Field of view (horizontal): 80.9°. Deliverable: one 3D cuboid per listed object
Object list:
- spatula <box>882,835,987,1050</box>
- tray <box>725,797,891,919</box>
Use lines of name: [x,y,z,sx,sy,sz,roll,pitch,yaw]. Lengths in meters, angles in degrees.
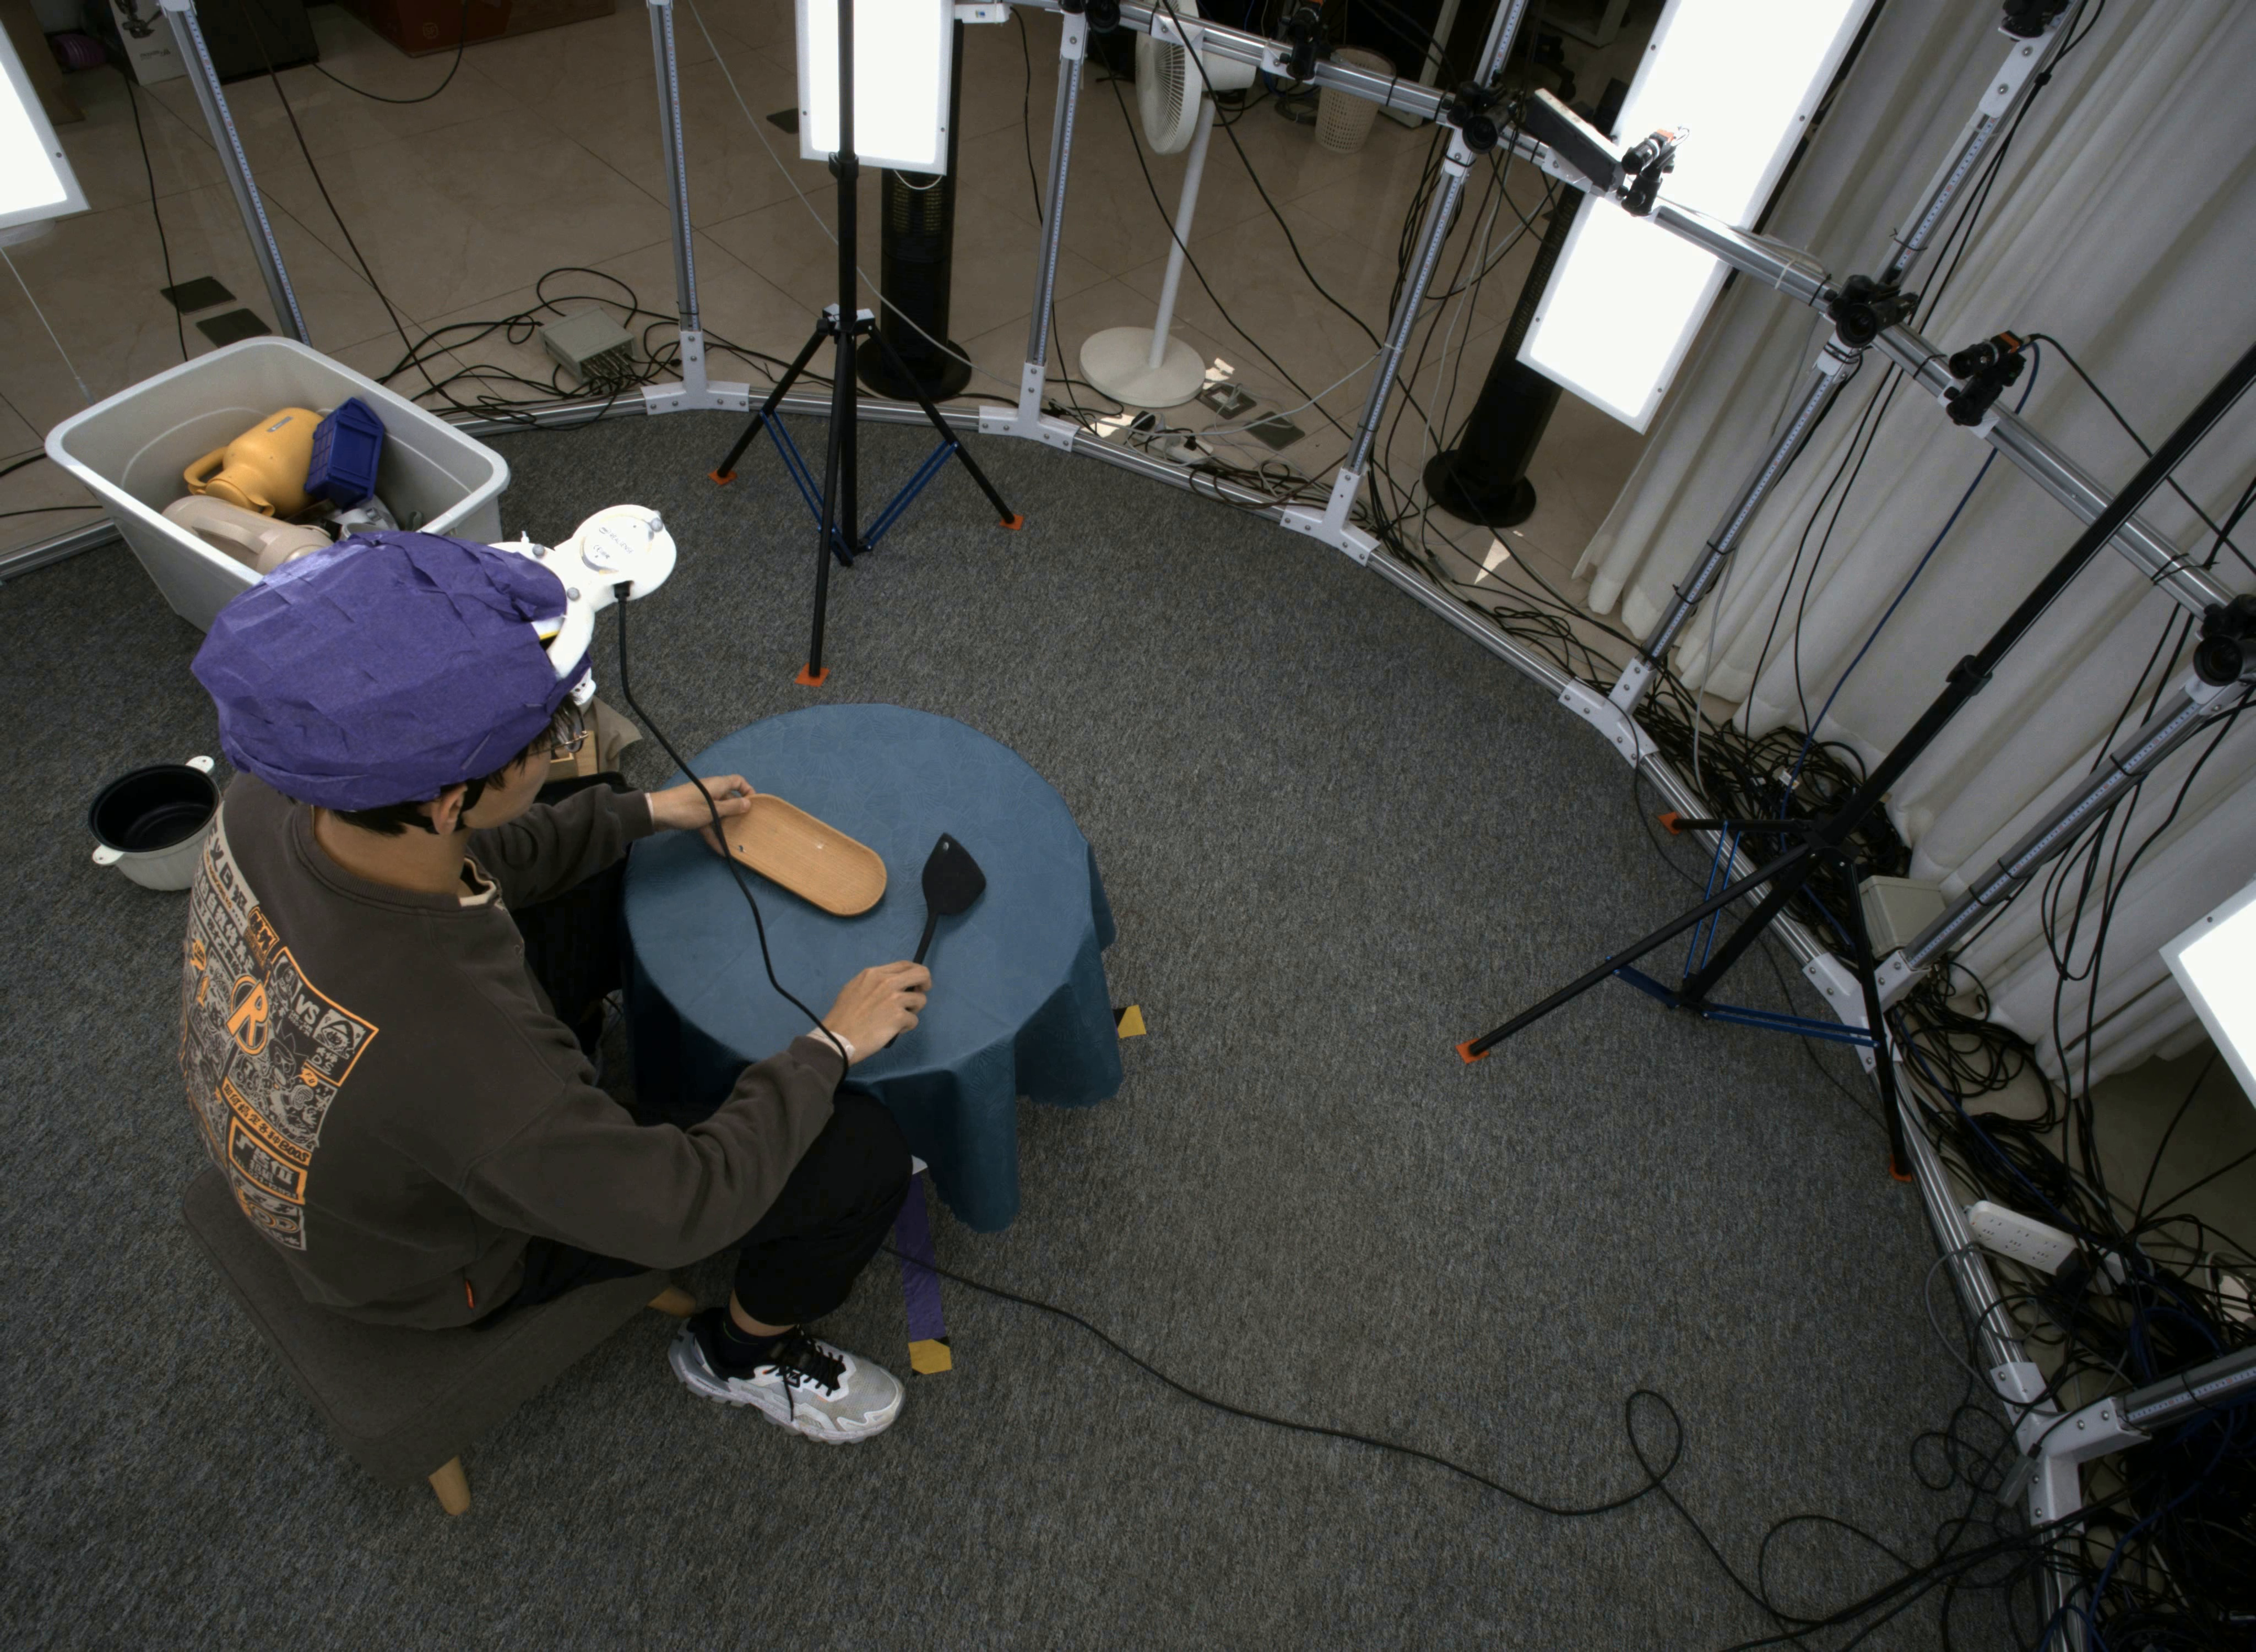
spatula: [-0.246,0.144,1.595,0.103,0.040,0.320,48,30,-26]
tray: [-0.415,0.041,1.682,0.230,0.020,0.101,29,63,-1]
